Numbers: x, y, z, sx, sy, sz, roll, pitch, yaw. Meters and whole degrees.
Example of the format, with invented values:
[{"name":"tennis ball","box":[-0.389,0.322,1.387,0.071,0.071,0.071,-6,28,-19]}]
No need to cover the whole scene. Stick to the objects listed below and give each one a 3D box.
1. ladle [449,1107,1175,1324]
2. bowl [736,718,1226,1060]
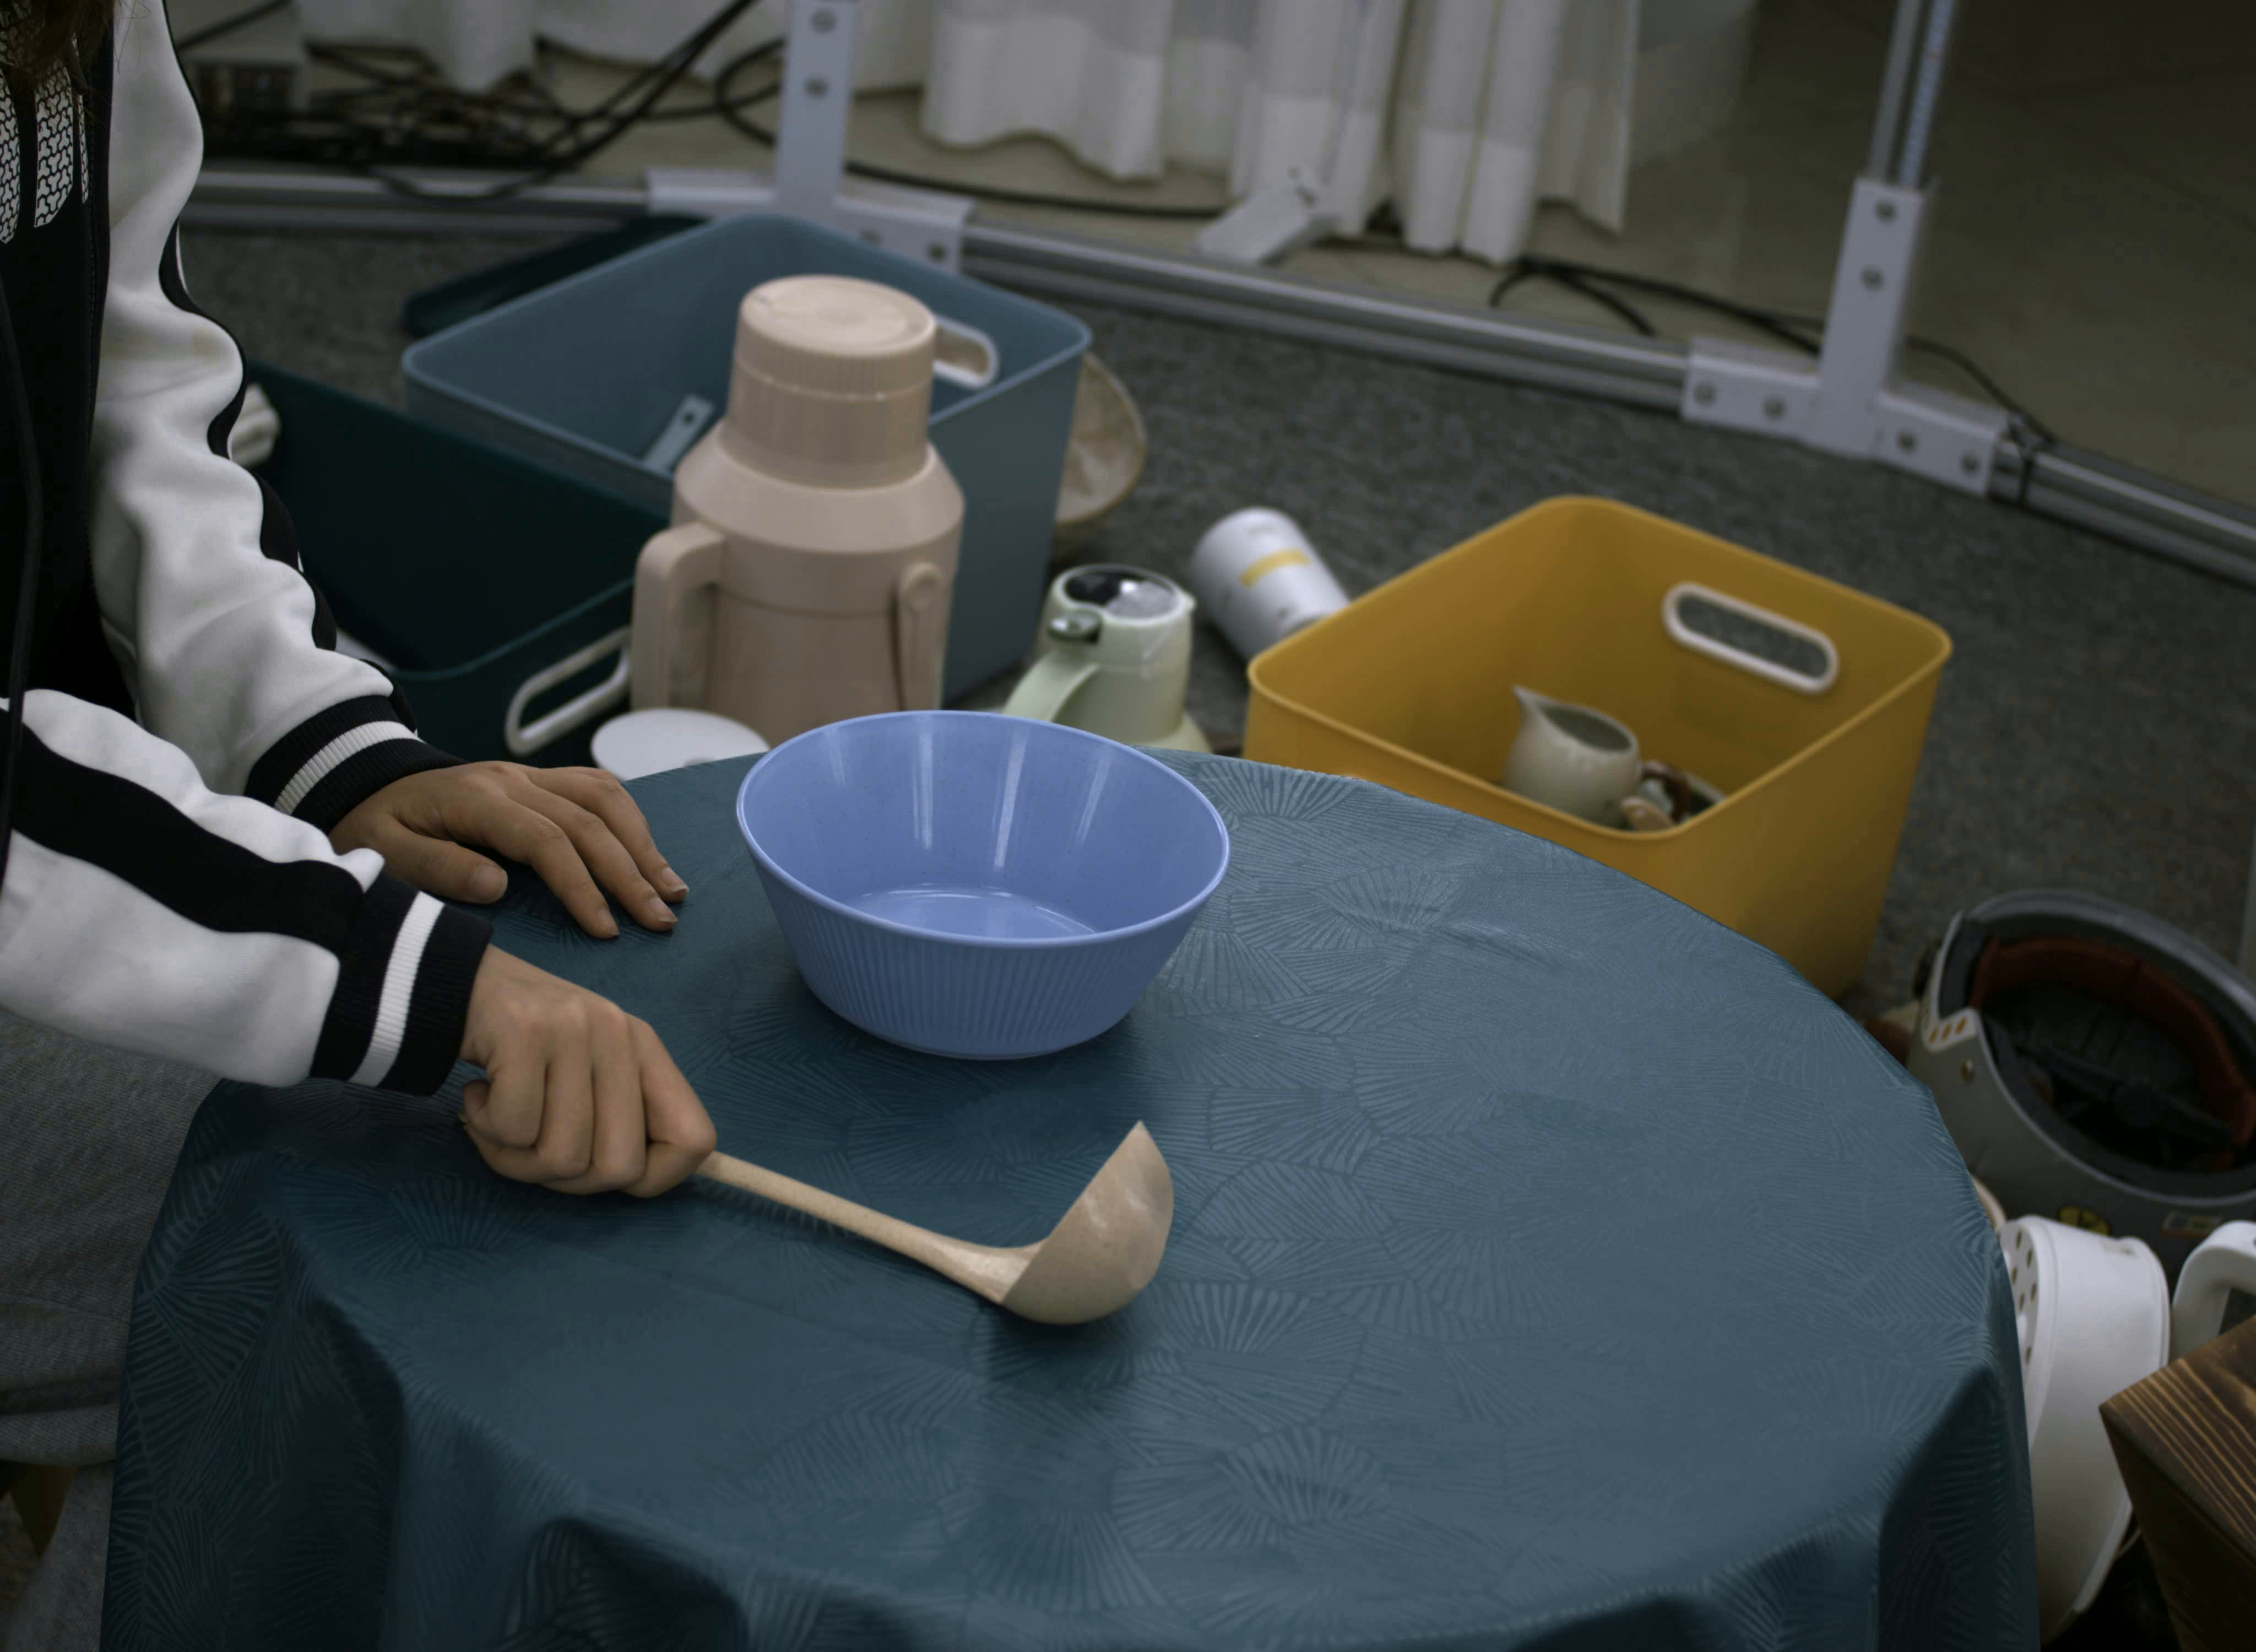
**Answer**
[{"name":"ladle","box":[-0.108,0.101,1.743,0.255,0.072,0.072,15,32,17]},{"name":"bowl","box":[-0.055,0.028,1.901,0.175,0.070,0.177,6,26,-3]}]
